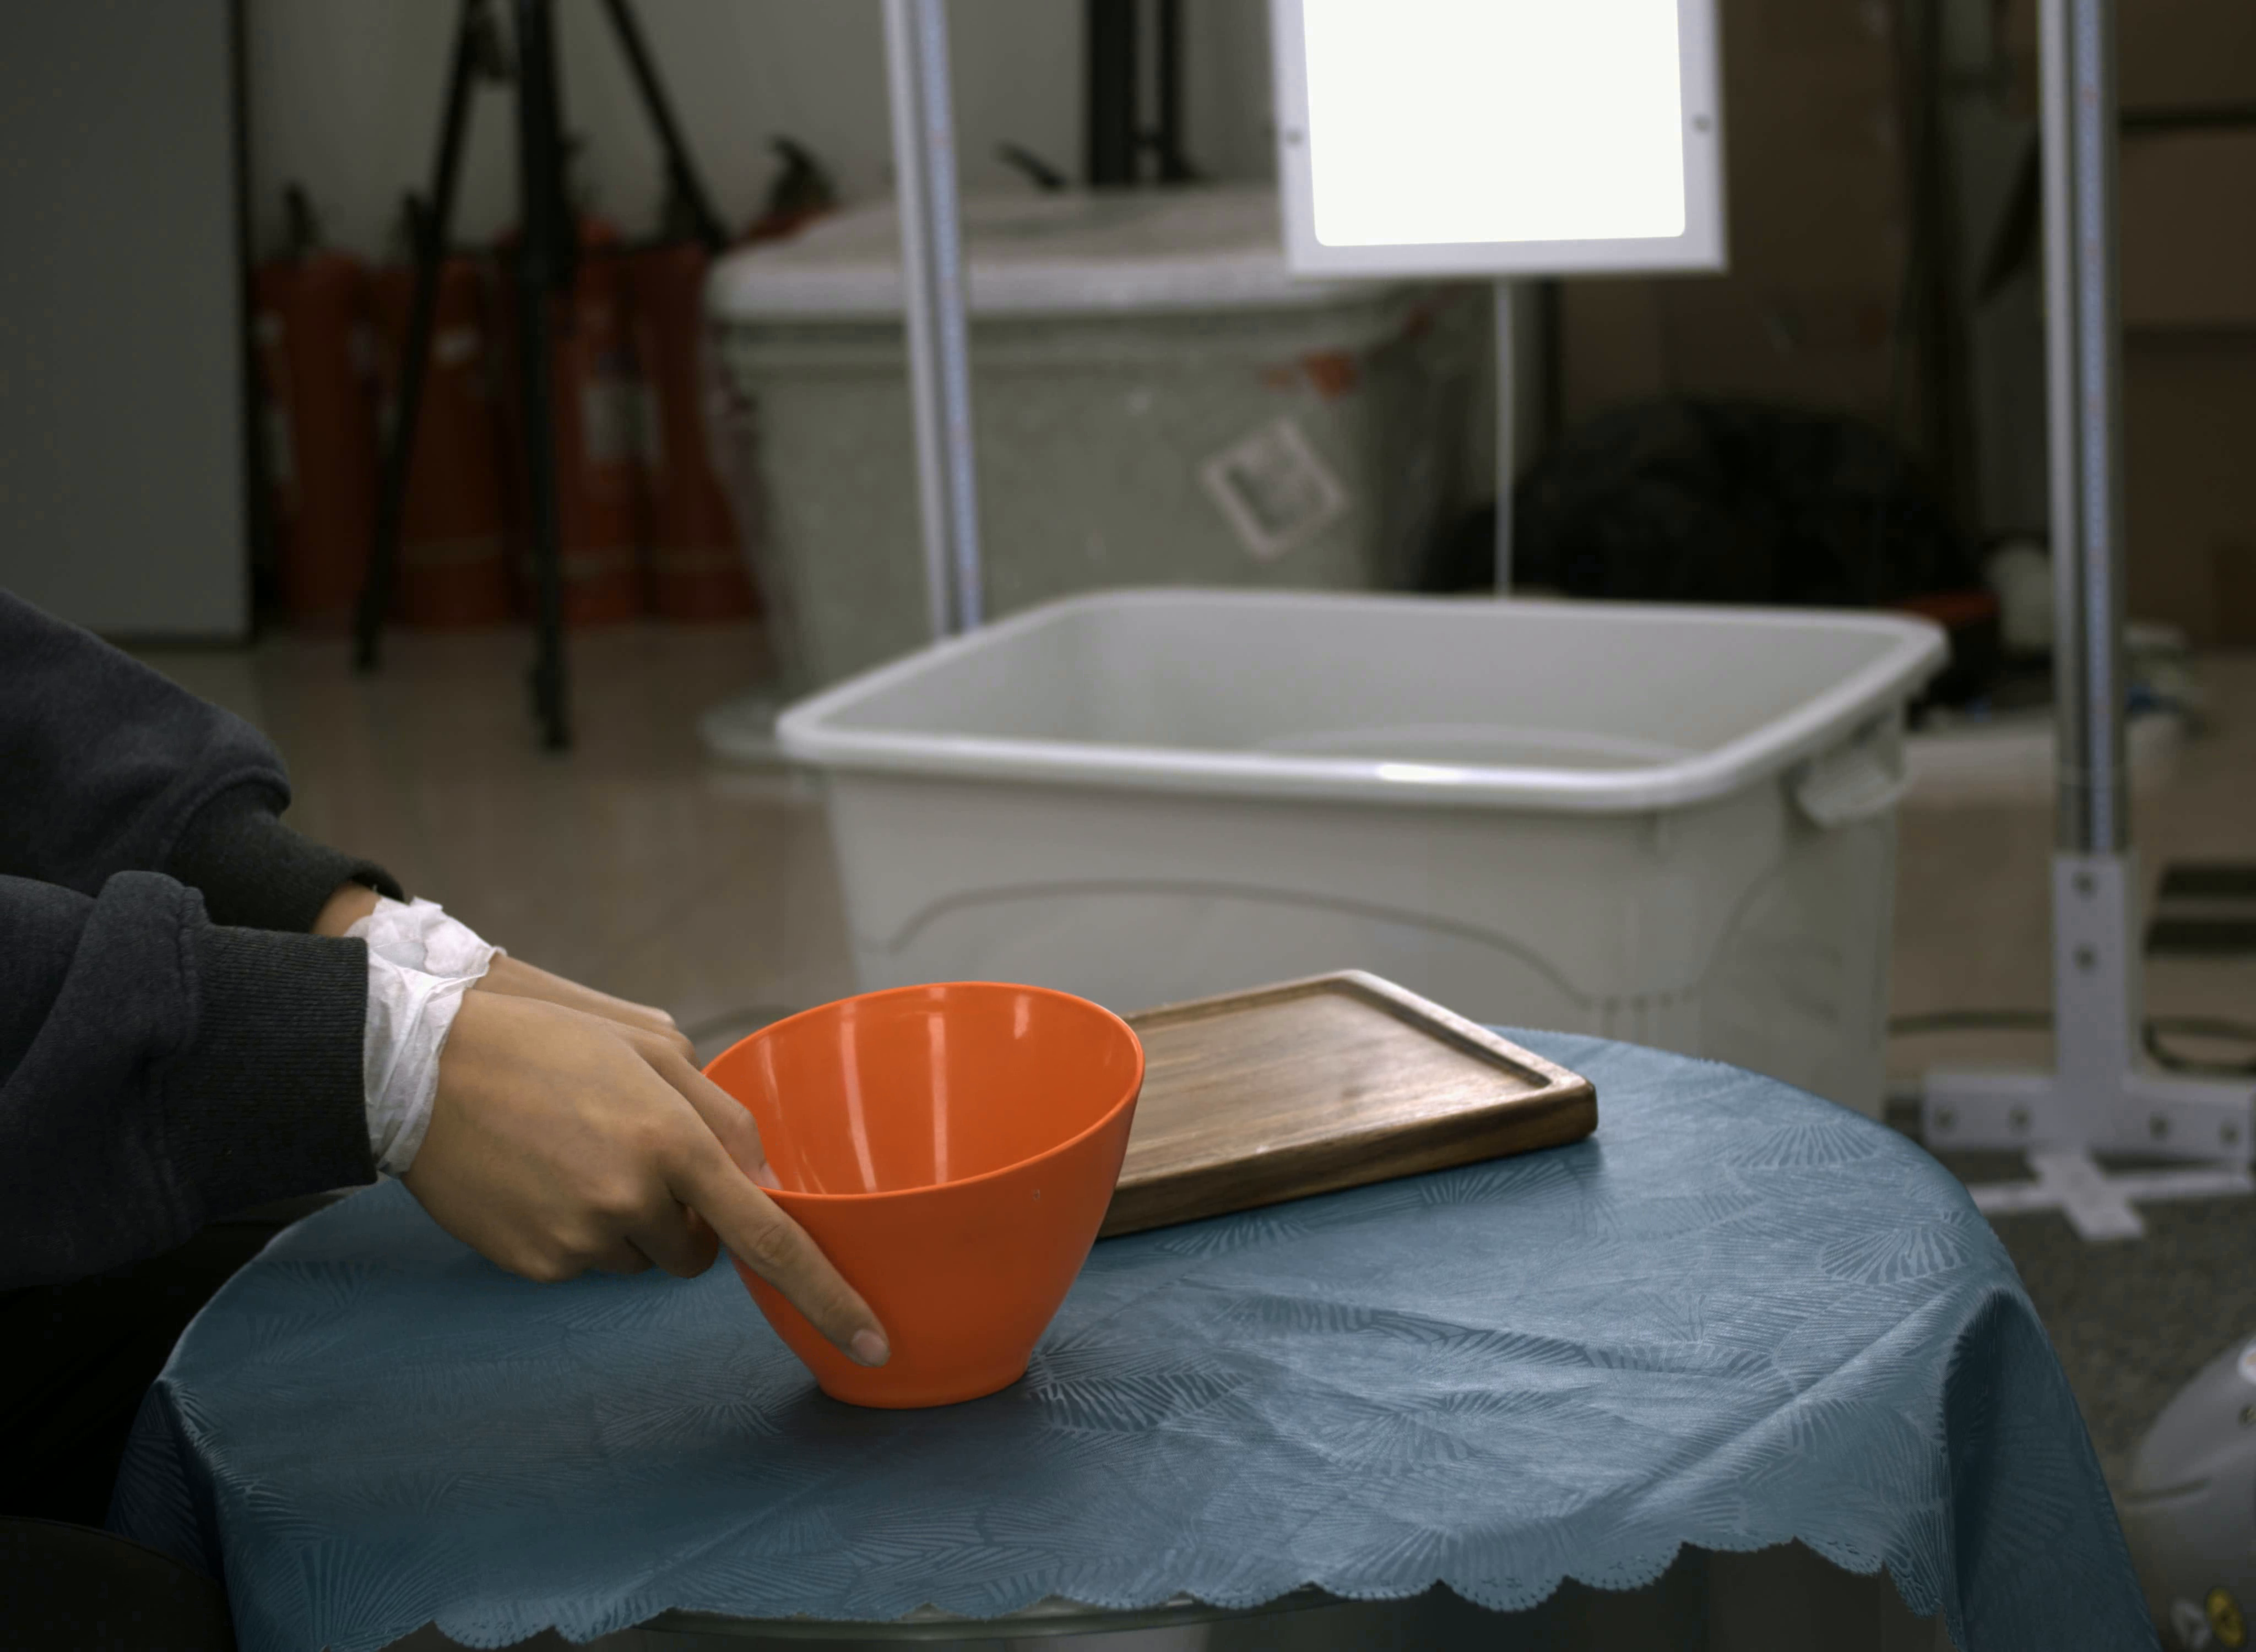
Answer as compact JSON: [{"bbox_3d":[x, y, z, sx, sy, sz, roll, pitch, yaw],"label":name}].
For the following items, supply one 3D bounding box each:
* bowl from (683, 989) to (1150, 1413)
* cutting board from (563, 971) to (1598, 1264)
[{"bbox_3d":[-0.064,0.121,1.730,0.147,0.105,0.148,-4,14,0],"label":"bowl"},{"bbox_3d":[-0.031,0.109,1.939,0.346,0.023,0.204,-11,15,-20],"label":"cutting board"}]
